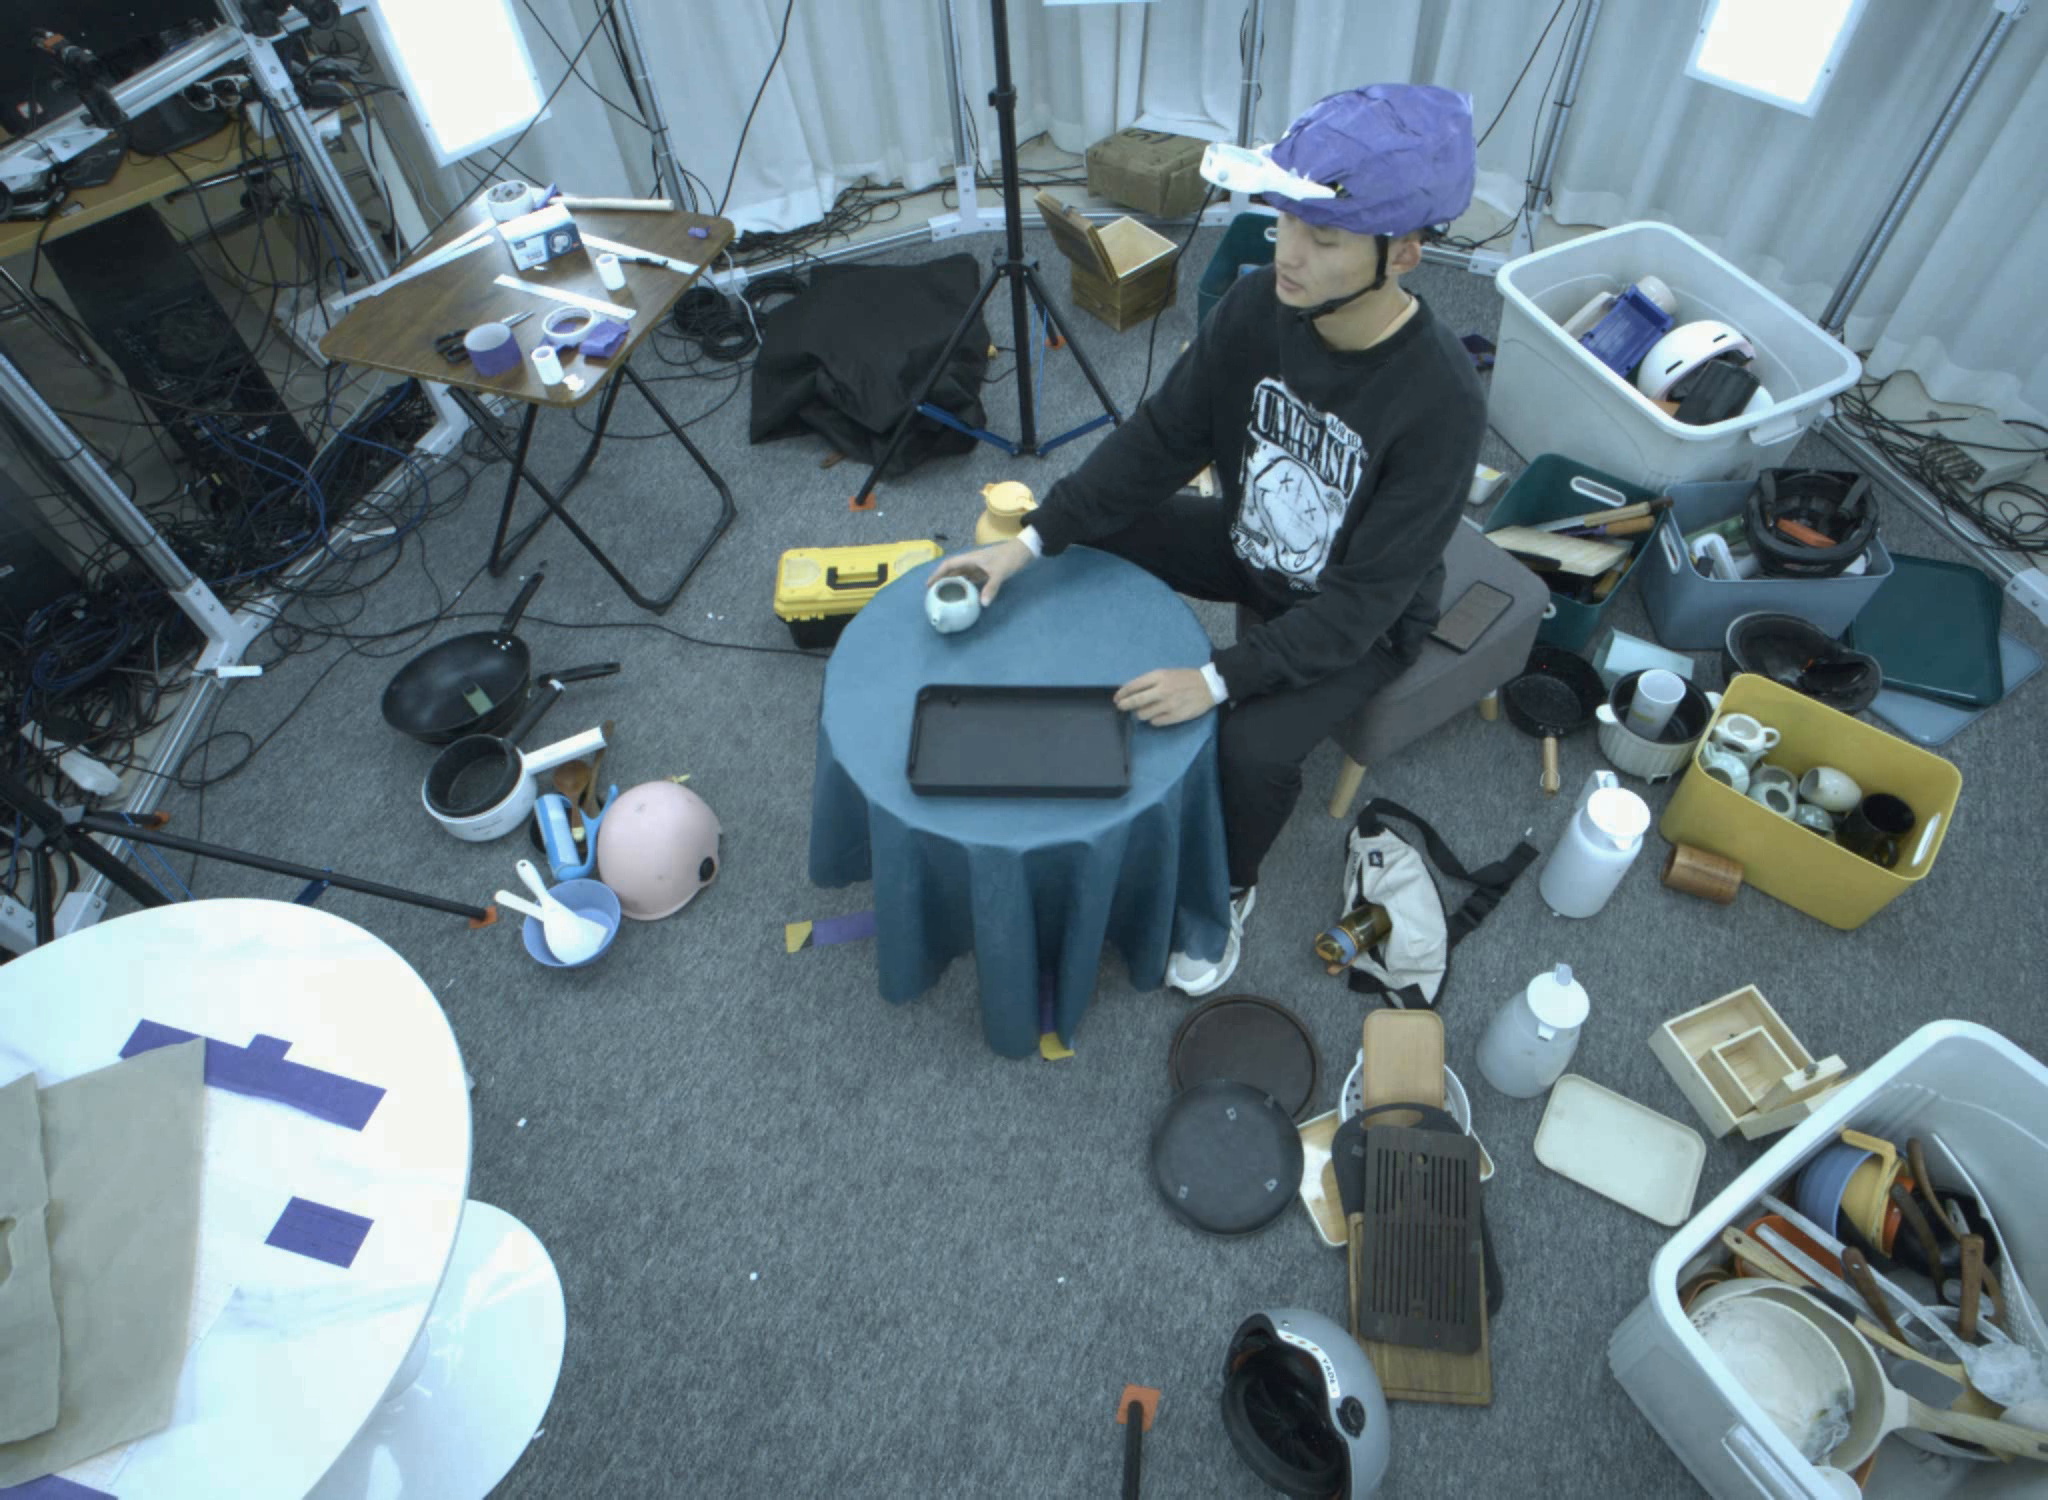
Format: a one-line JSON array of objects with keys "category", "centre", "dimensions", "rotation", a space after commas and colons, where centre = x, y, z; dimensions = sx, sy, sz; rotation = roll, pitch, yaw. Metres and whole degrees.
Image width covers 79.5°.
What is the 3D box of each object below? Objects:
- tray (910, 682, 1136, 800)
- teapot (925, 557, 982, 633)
[{"category": "tray", "centre": [0.000, -0.014, 1.771], "dimensions": [0.318, 0.037, 0.182], "rotation": [-1, 54, 1]}, {"category": "teapot", "centre": [-0.110, -0.227, 1.904], "dimensions": [0.087, 0.075, 0.143], "rotation": [16, 58, 14]}]
